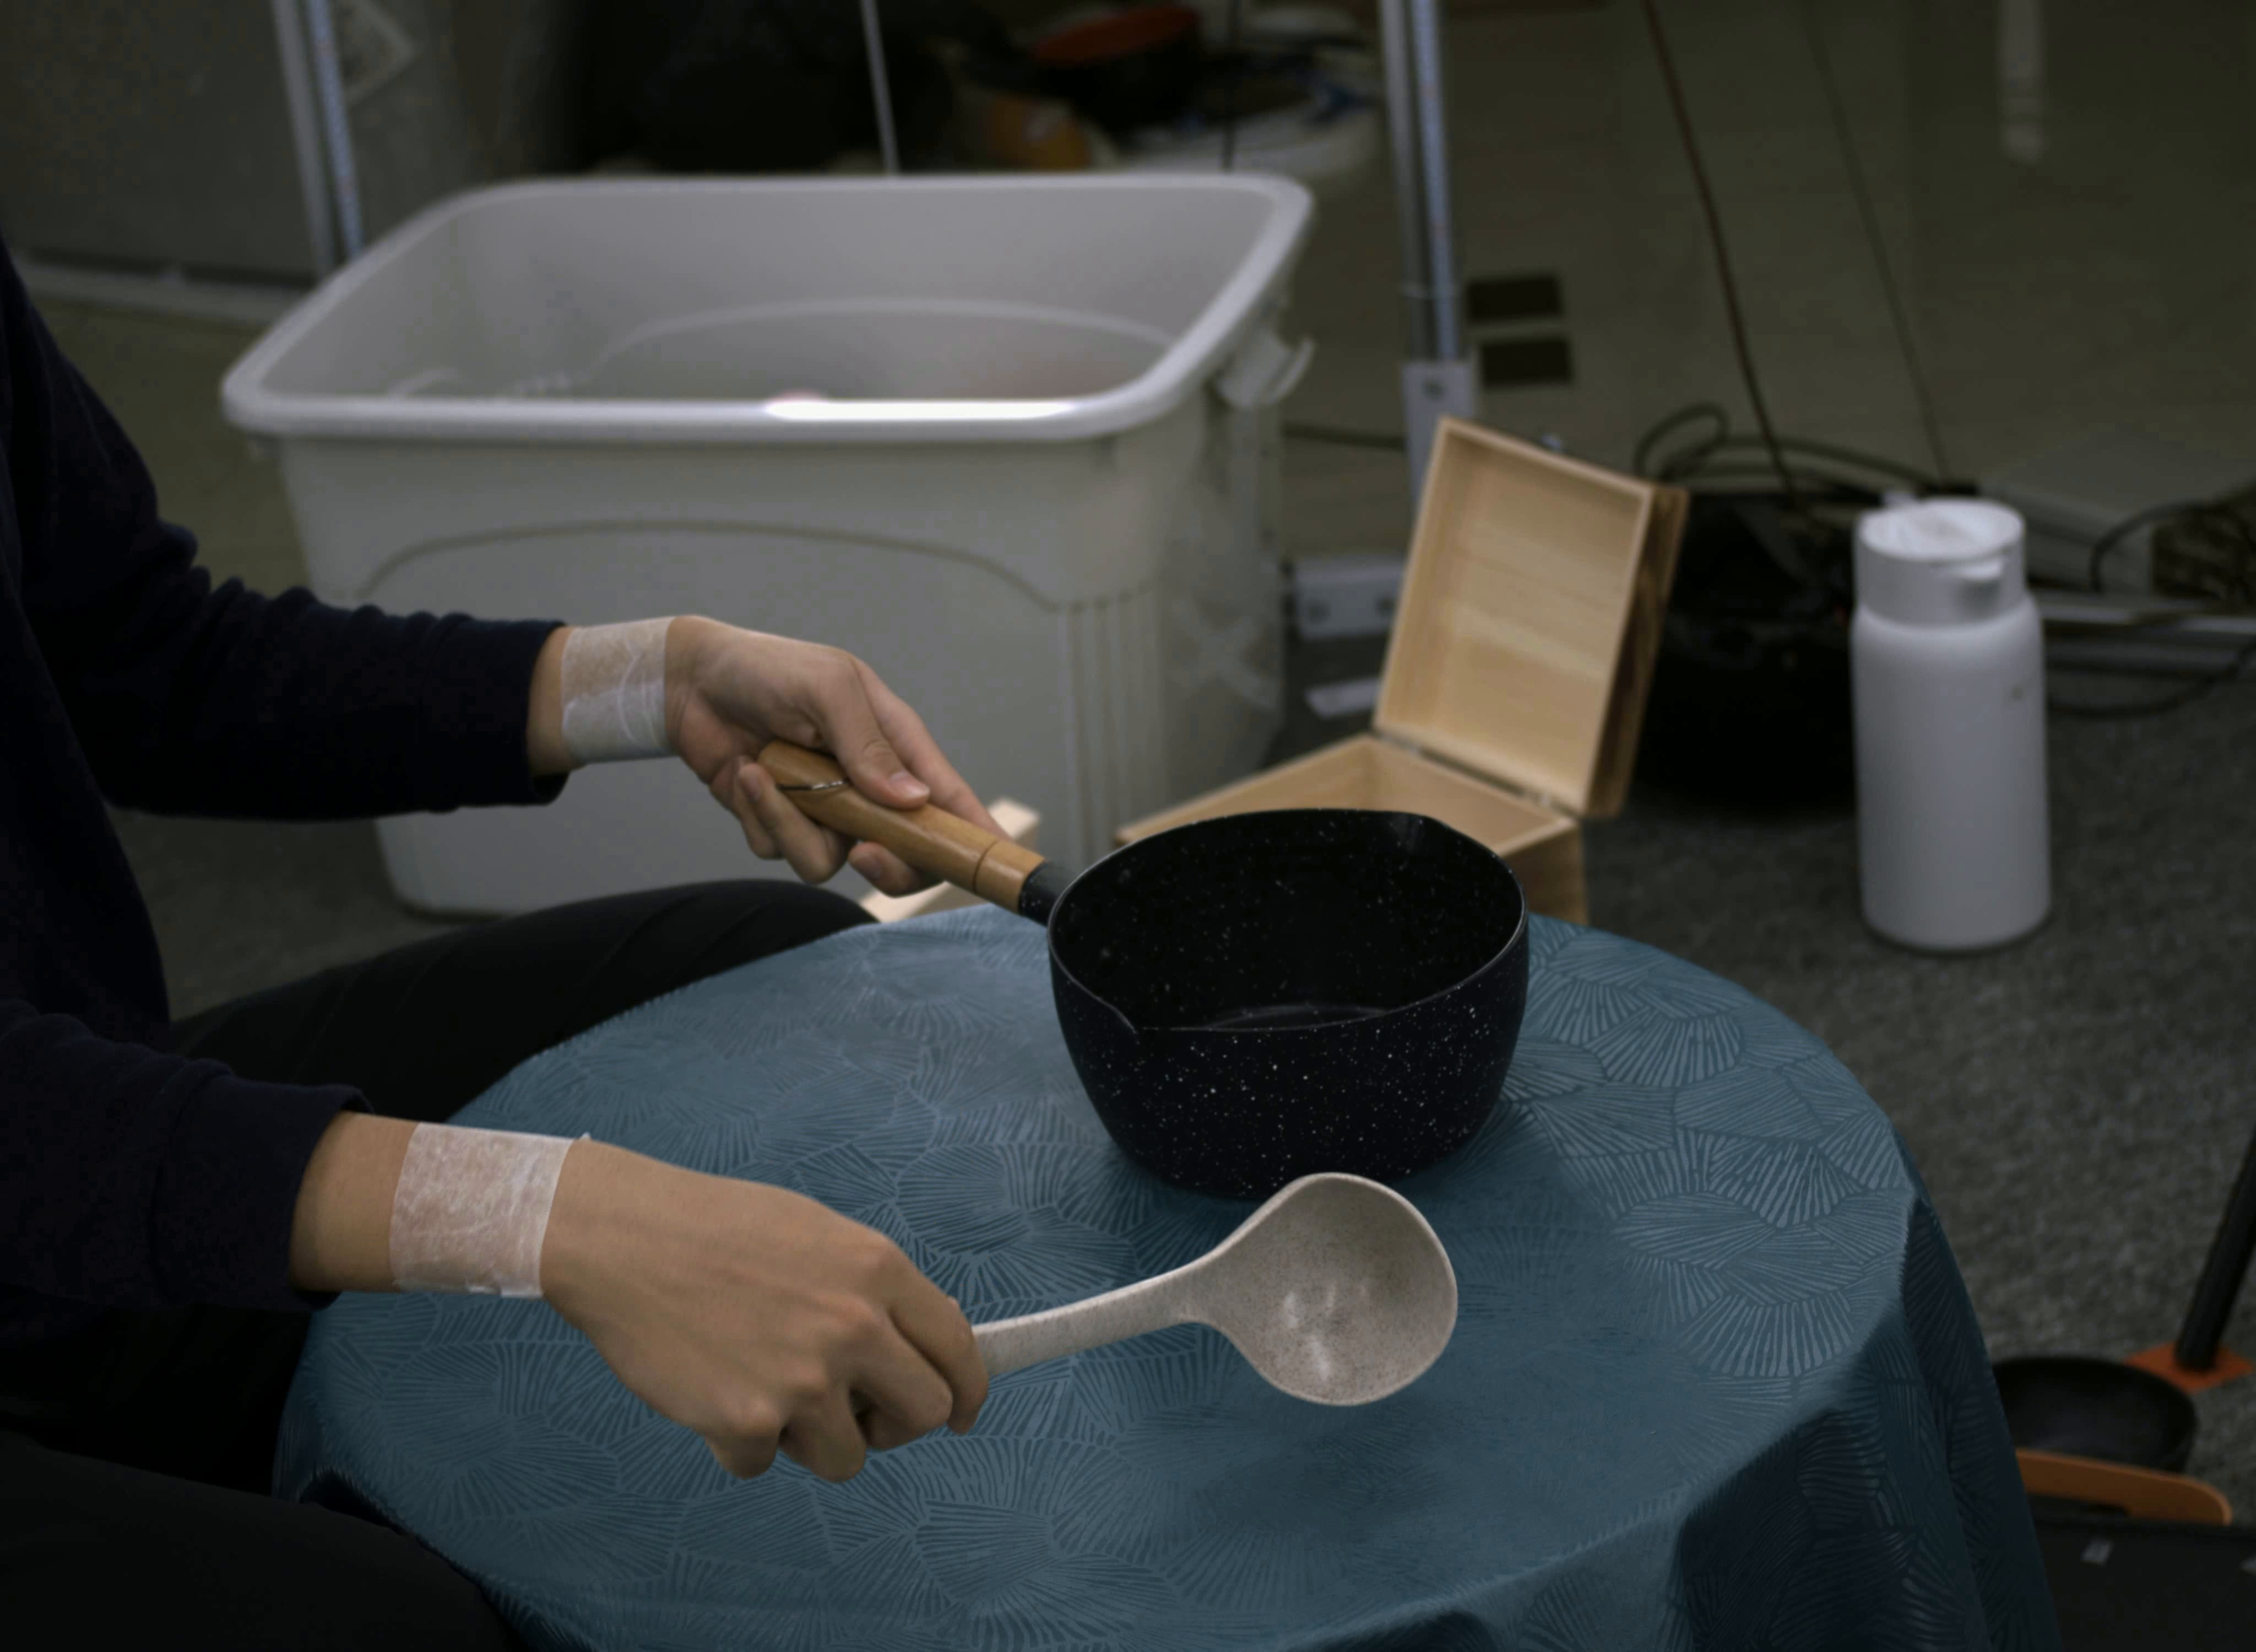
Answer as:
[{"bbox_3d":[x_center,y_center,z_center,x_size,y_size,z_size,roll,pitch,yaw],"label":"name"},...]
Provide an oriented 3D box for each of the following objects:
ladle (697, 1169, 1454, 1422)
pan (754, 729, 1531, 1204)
[{"bbox_3d":[-0.012,0.174,1.869,0.273,0.091,0.068,-12,38,-39],"label":"ladle"},{"bbox_3d":[-0.004,0.046,2.206,0.341,0.110,0.205,14,33,30],"label":"pan"}]
